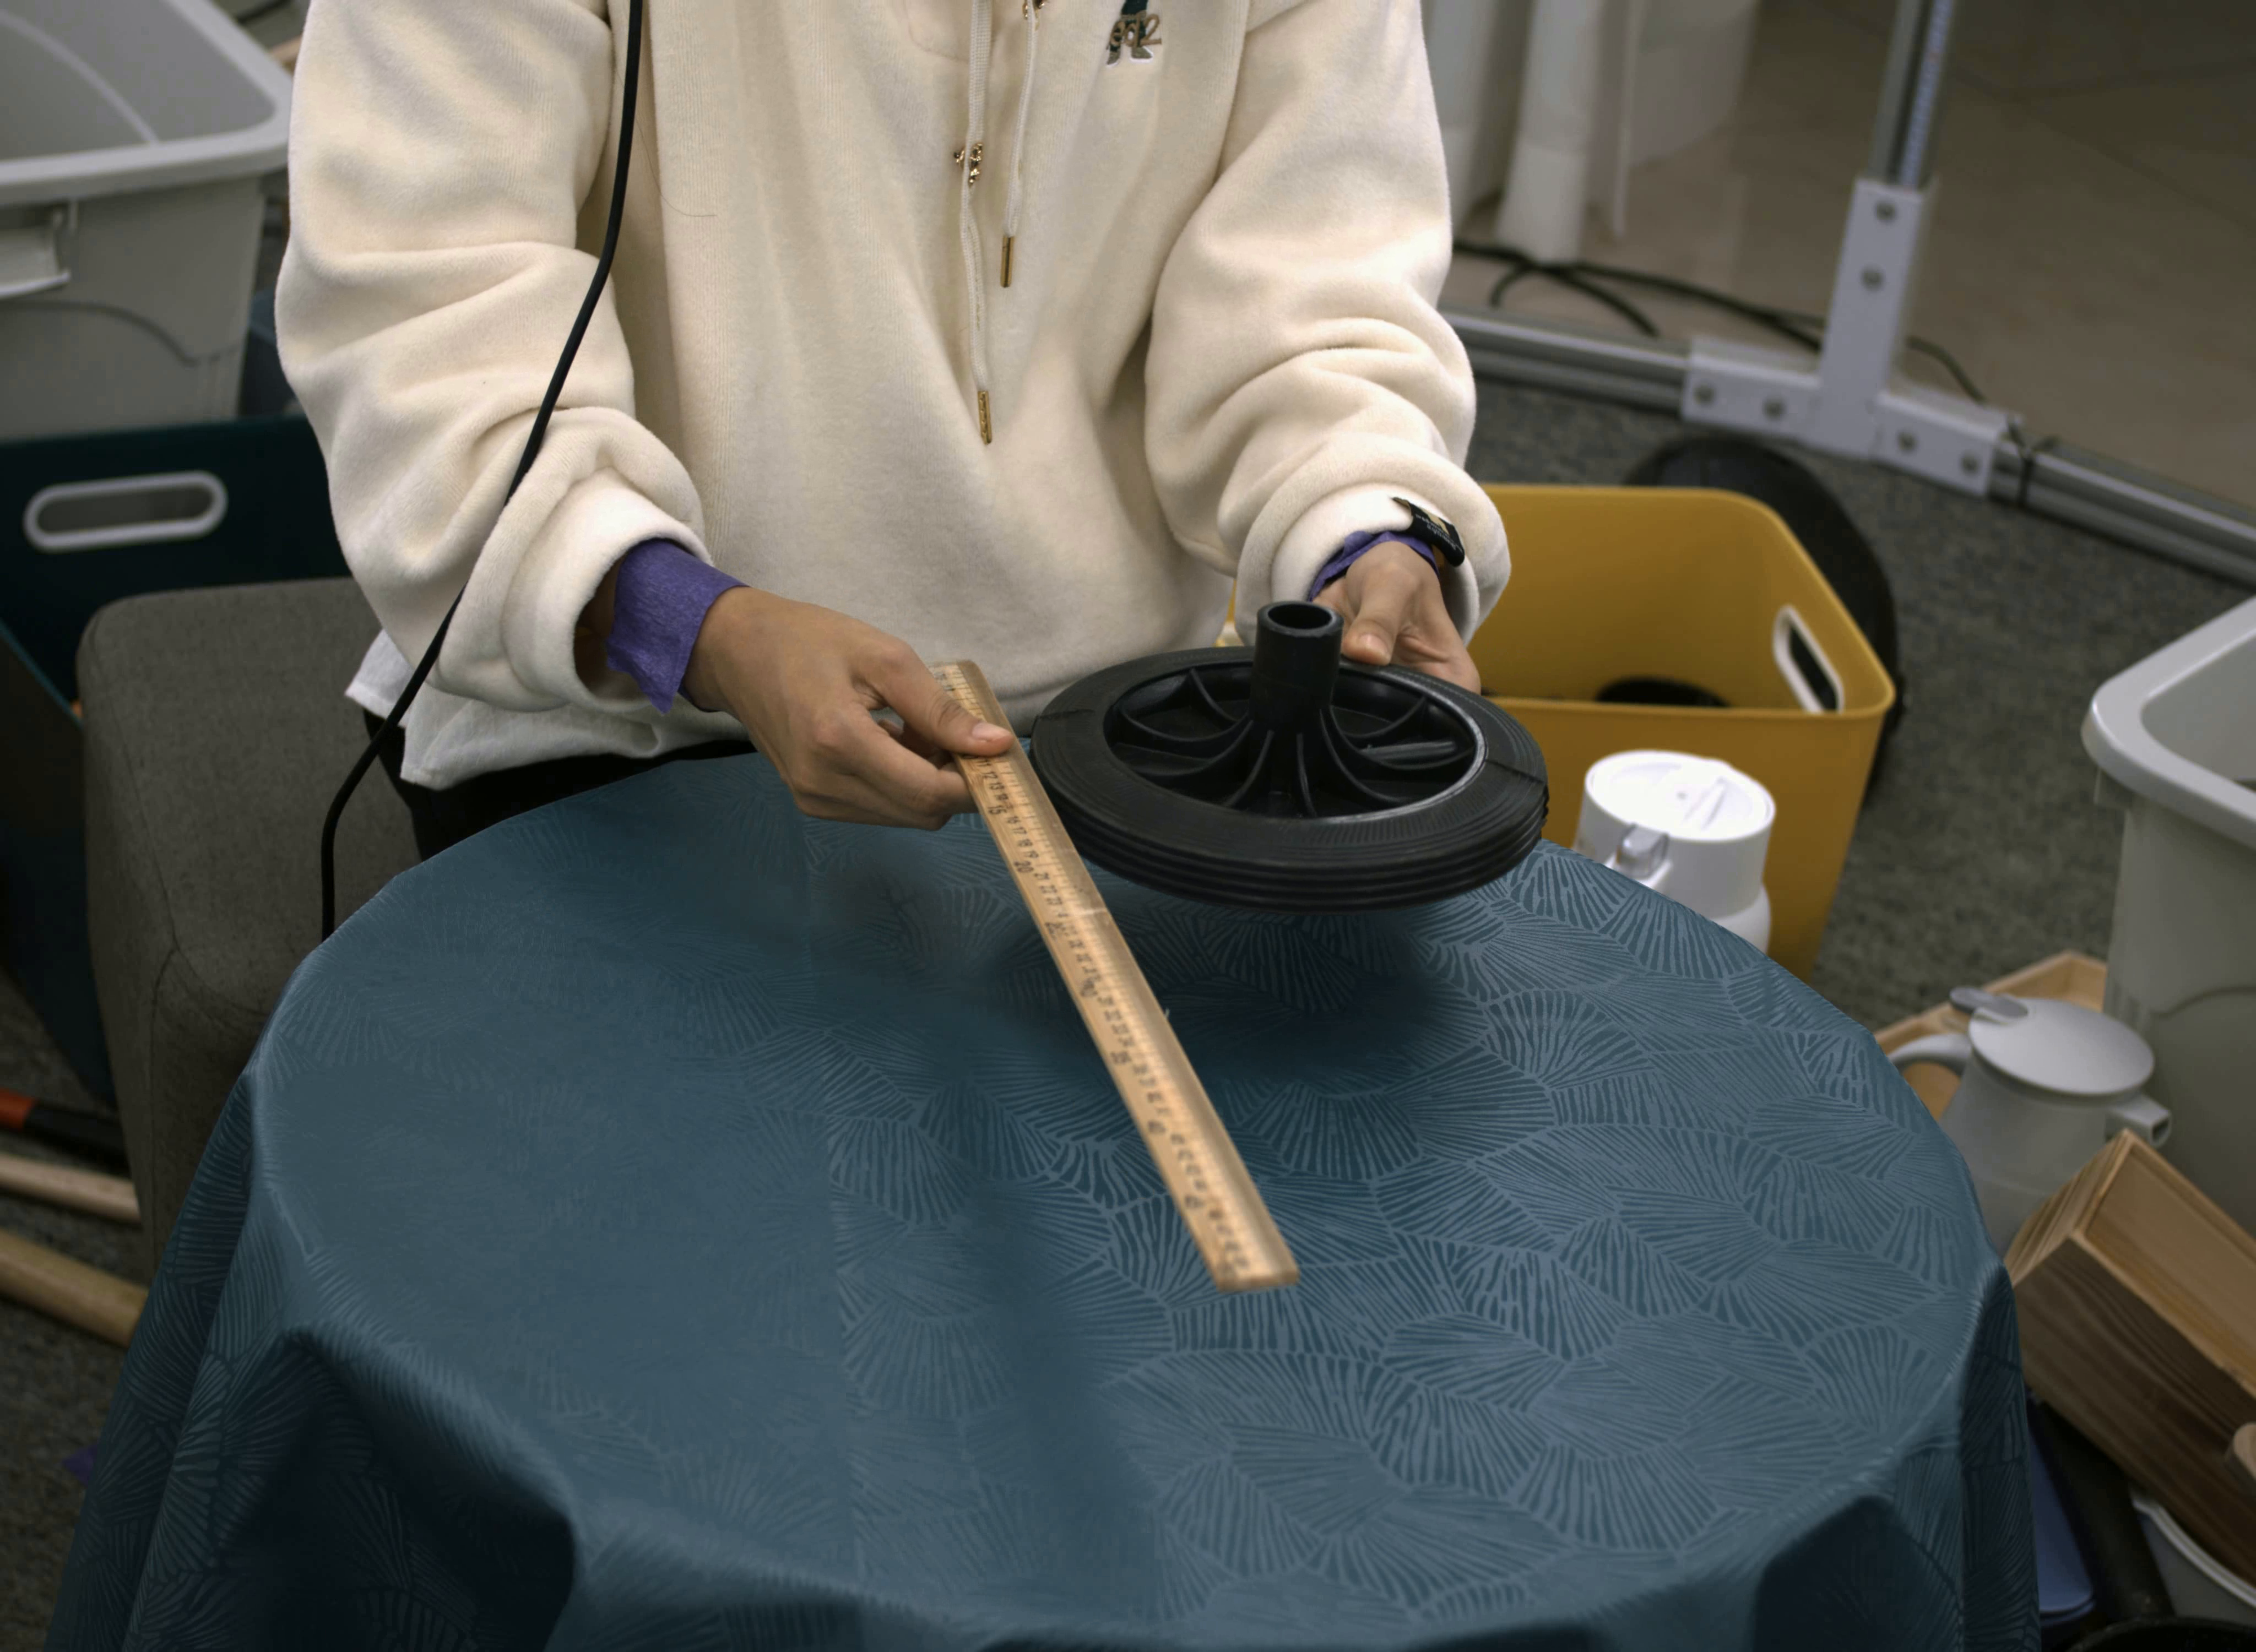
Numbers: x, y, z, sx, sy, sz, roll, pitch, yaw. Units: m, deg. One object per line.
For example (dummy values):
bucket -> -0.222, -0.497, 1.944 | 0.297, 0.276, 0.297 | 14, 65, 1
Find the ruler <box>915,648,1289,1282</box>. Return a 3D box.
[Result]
ruler -> -0.017, 0.033, 1.778 | 0.026, 0.006, 0.504 | -7, 24, -10

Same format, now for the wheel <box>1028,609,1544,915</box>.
wheel -> 0.059, -0.036, 1.915 | 0.189, 0.079, 0.189 | -19, 33, -39
